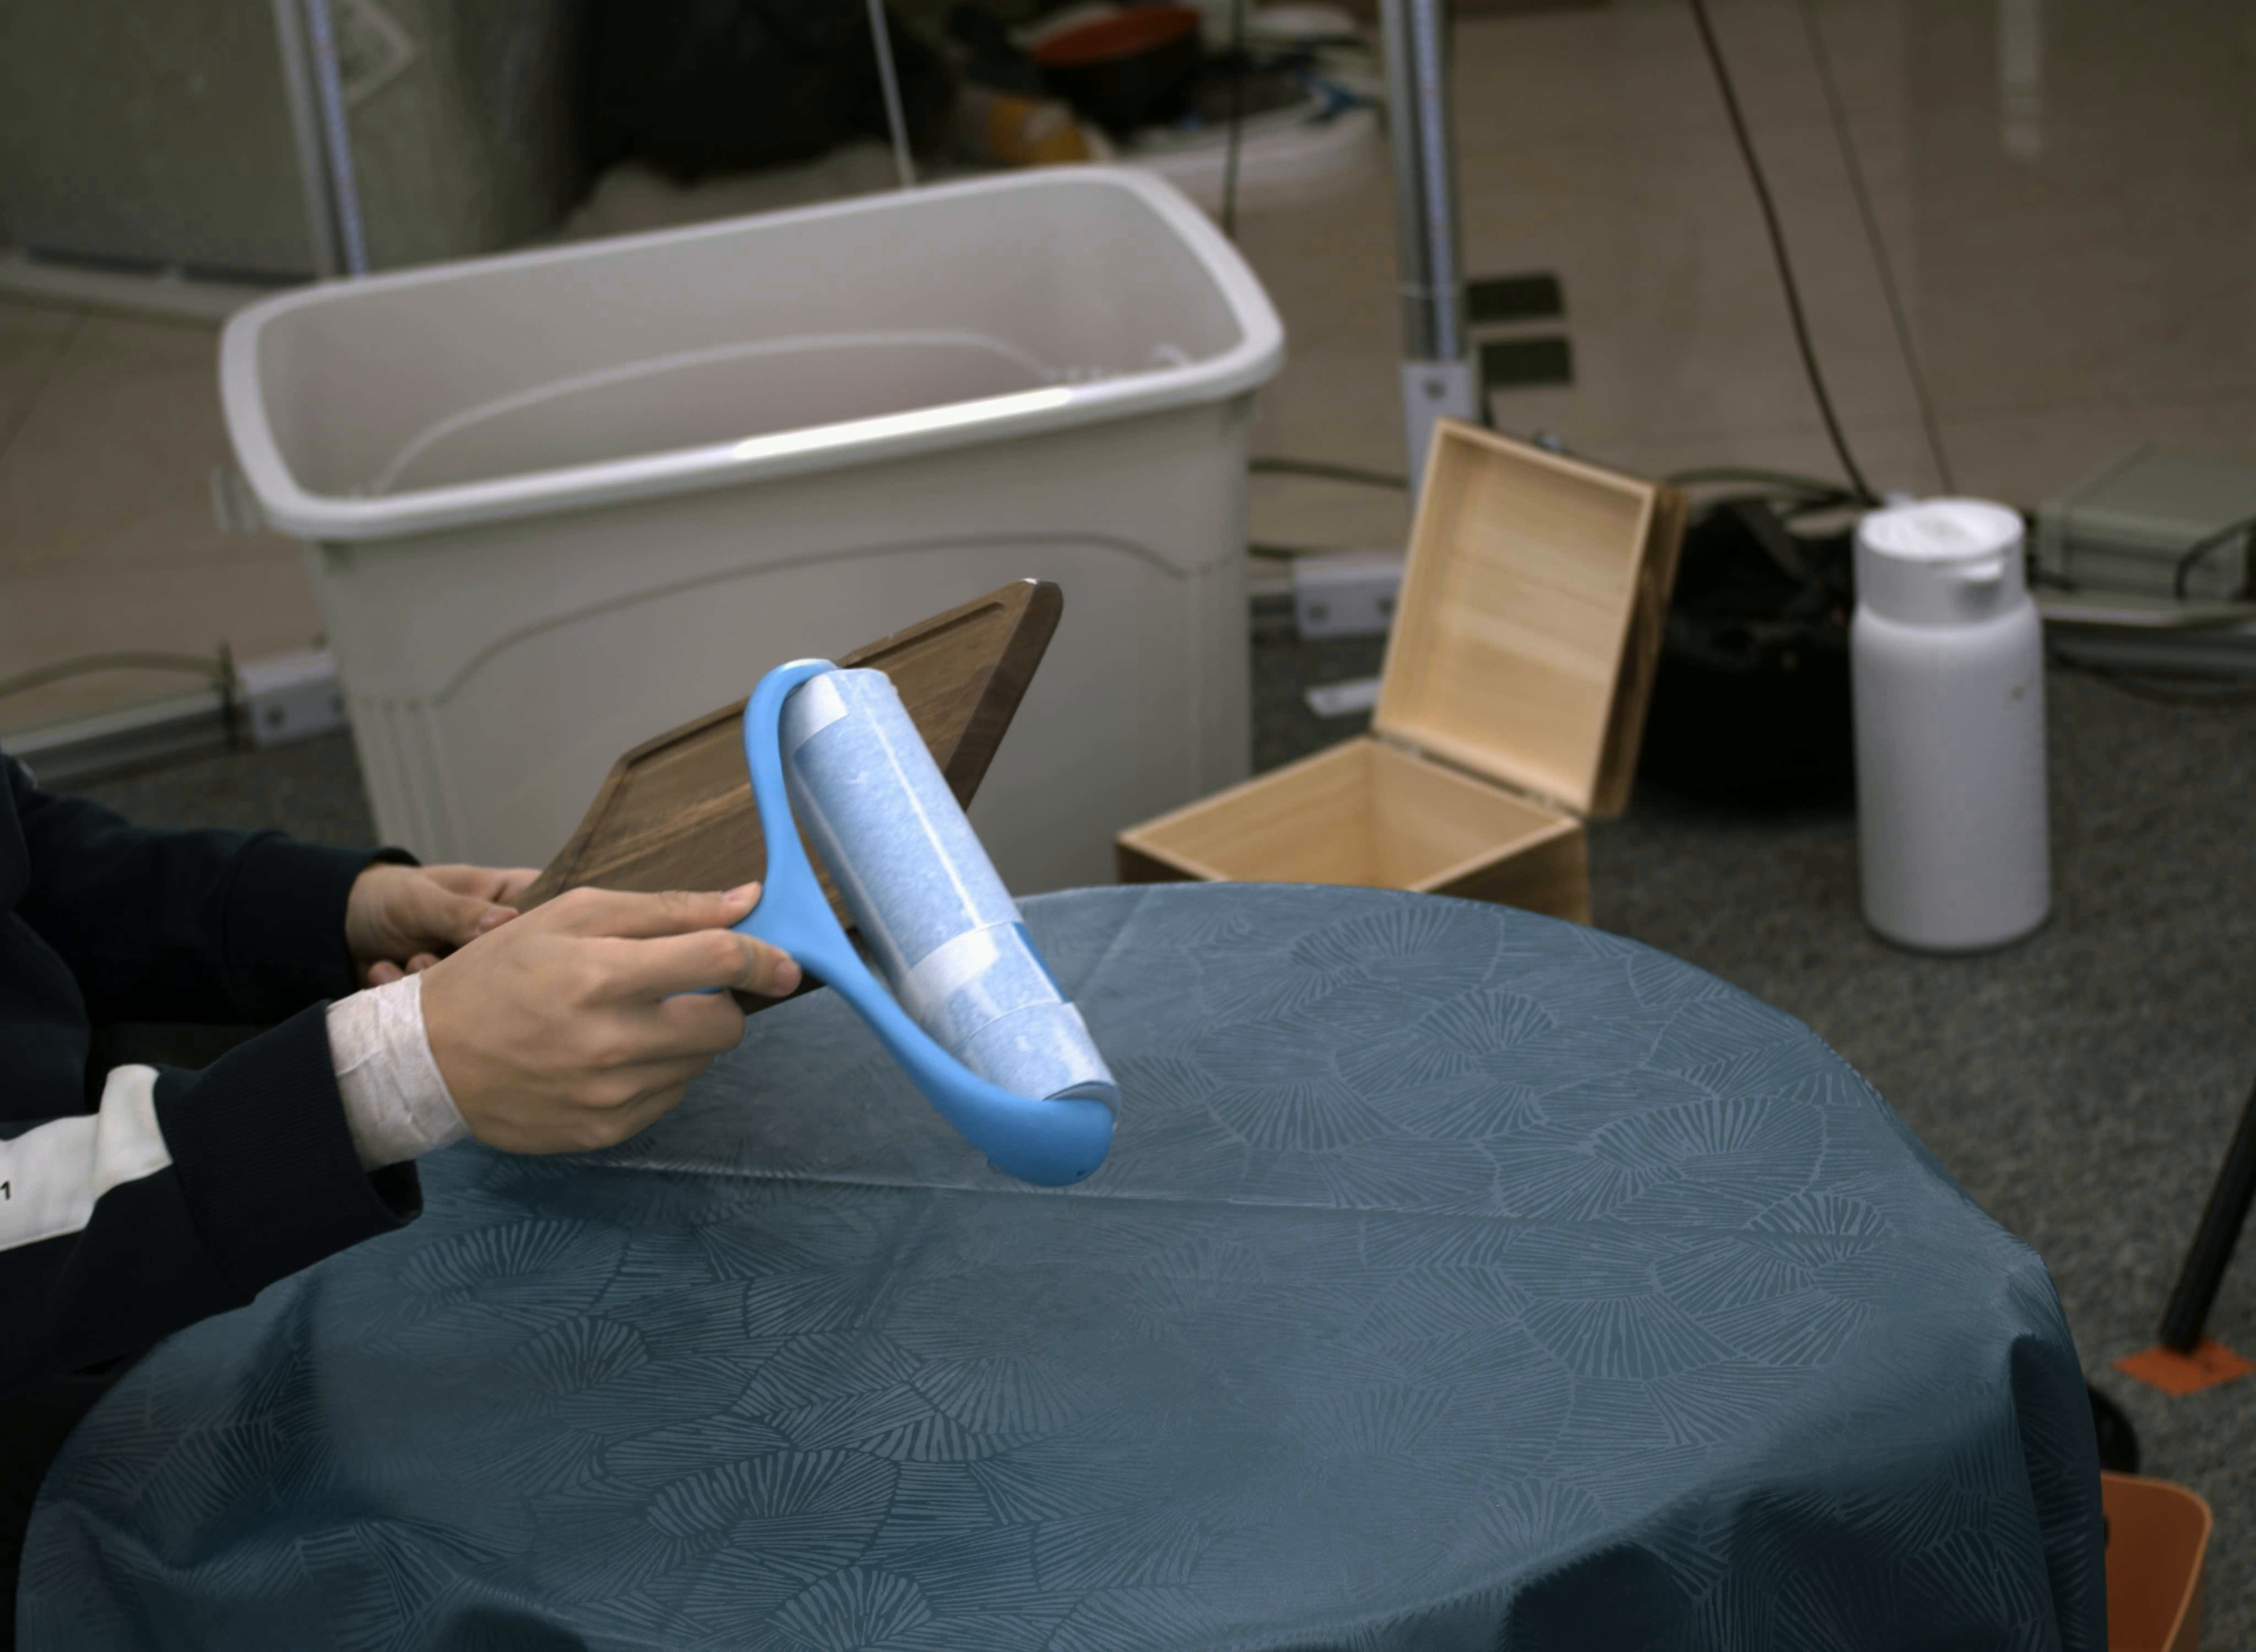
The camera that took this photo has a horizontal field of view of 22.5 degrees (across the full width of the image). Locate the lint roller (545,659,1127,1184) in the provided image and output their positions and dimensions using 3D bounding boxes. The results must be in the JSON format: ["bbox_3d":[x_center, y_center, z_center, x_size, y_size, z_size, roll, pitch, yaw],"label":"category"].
[{"bbox_3d":[-0.119,0.052,1.989,0.179,0.069,0.226,-22,64,-21],"label":"lint roller"}]

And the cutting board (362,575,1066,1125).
[{"bbox_3d":[-0.181,0.023,2.211,0.354,0.023,0.198,-22,32,40],"label":"cutting board"}]
